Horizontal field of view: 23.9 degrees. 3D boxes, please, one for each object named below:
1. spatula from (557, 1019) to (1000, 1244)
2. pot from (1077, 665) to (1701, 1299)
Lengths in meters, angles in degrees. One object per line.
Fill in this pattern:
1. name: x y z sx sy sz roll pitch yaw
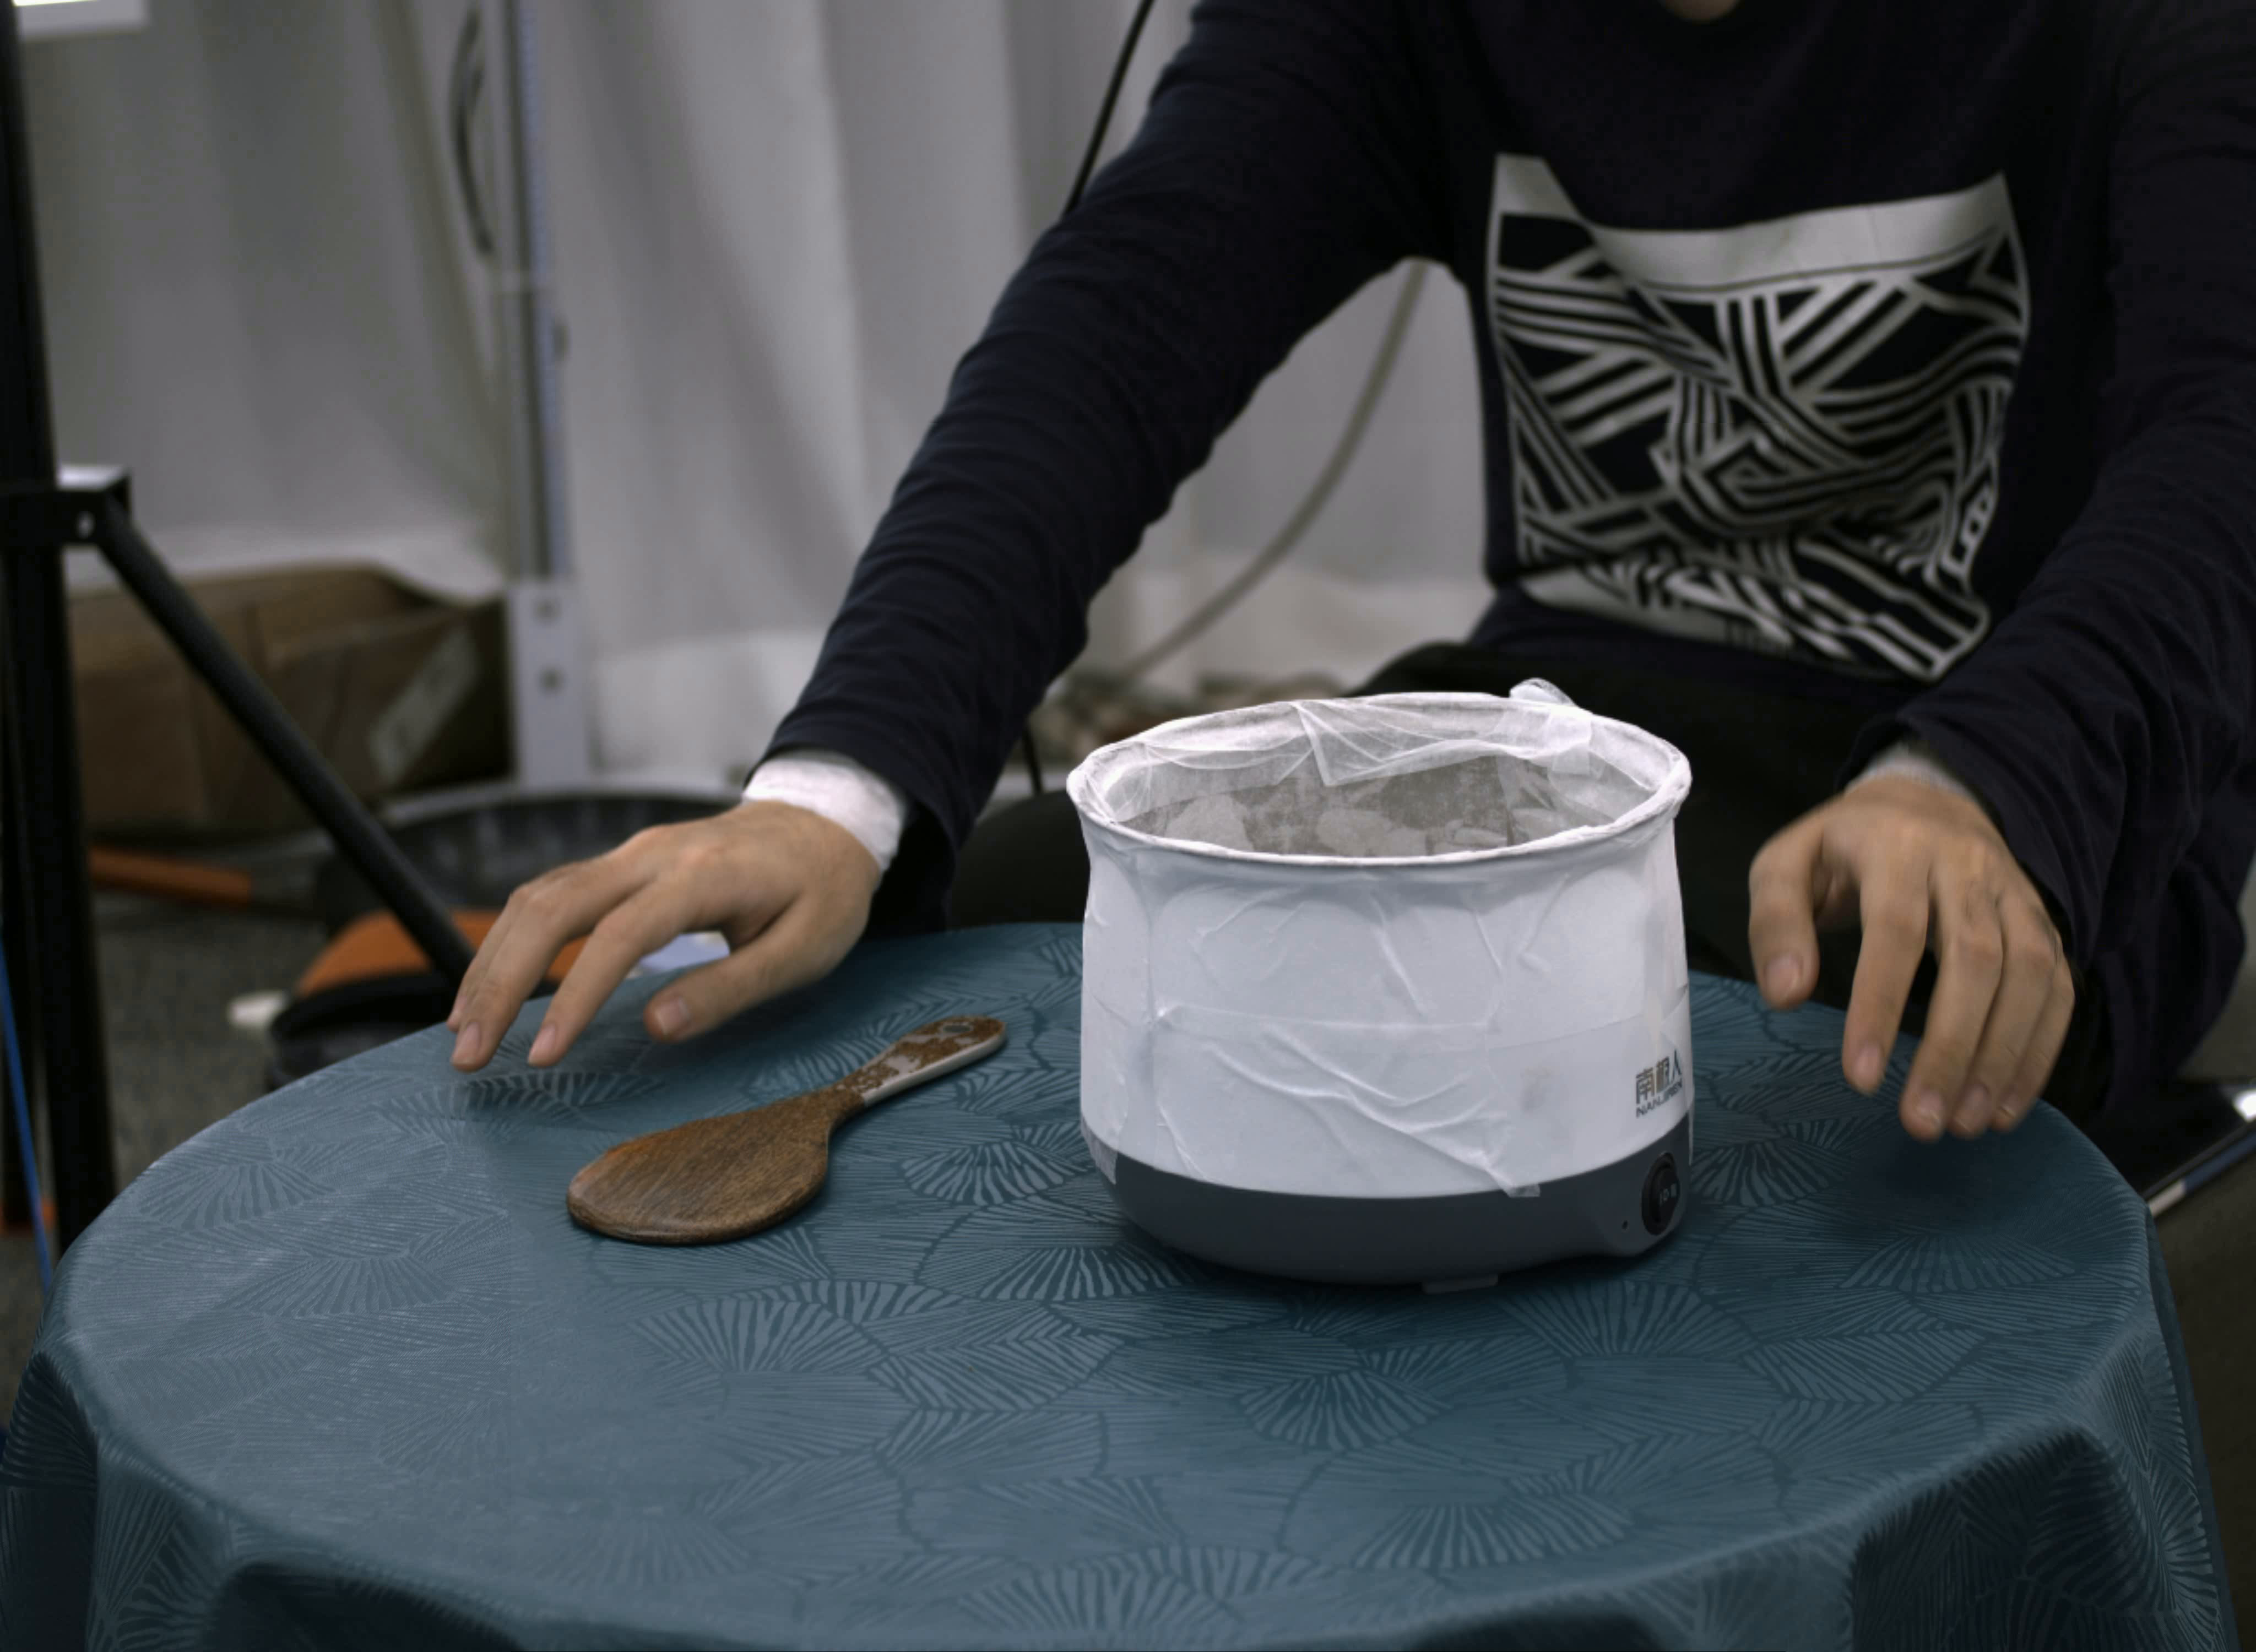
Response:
1. spatula: -0.095 0.091 1.628 0.073 0.009 0.212 9 18 28
2. pot: 0.087 0.037 1.539 0.182 0.136 0.230 10 21 28
